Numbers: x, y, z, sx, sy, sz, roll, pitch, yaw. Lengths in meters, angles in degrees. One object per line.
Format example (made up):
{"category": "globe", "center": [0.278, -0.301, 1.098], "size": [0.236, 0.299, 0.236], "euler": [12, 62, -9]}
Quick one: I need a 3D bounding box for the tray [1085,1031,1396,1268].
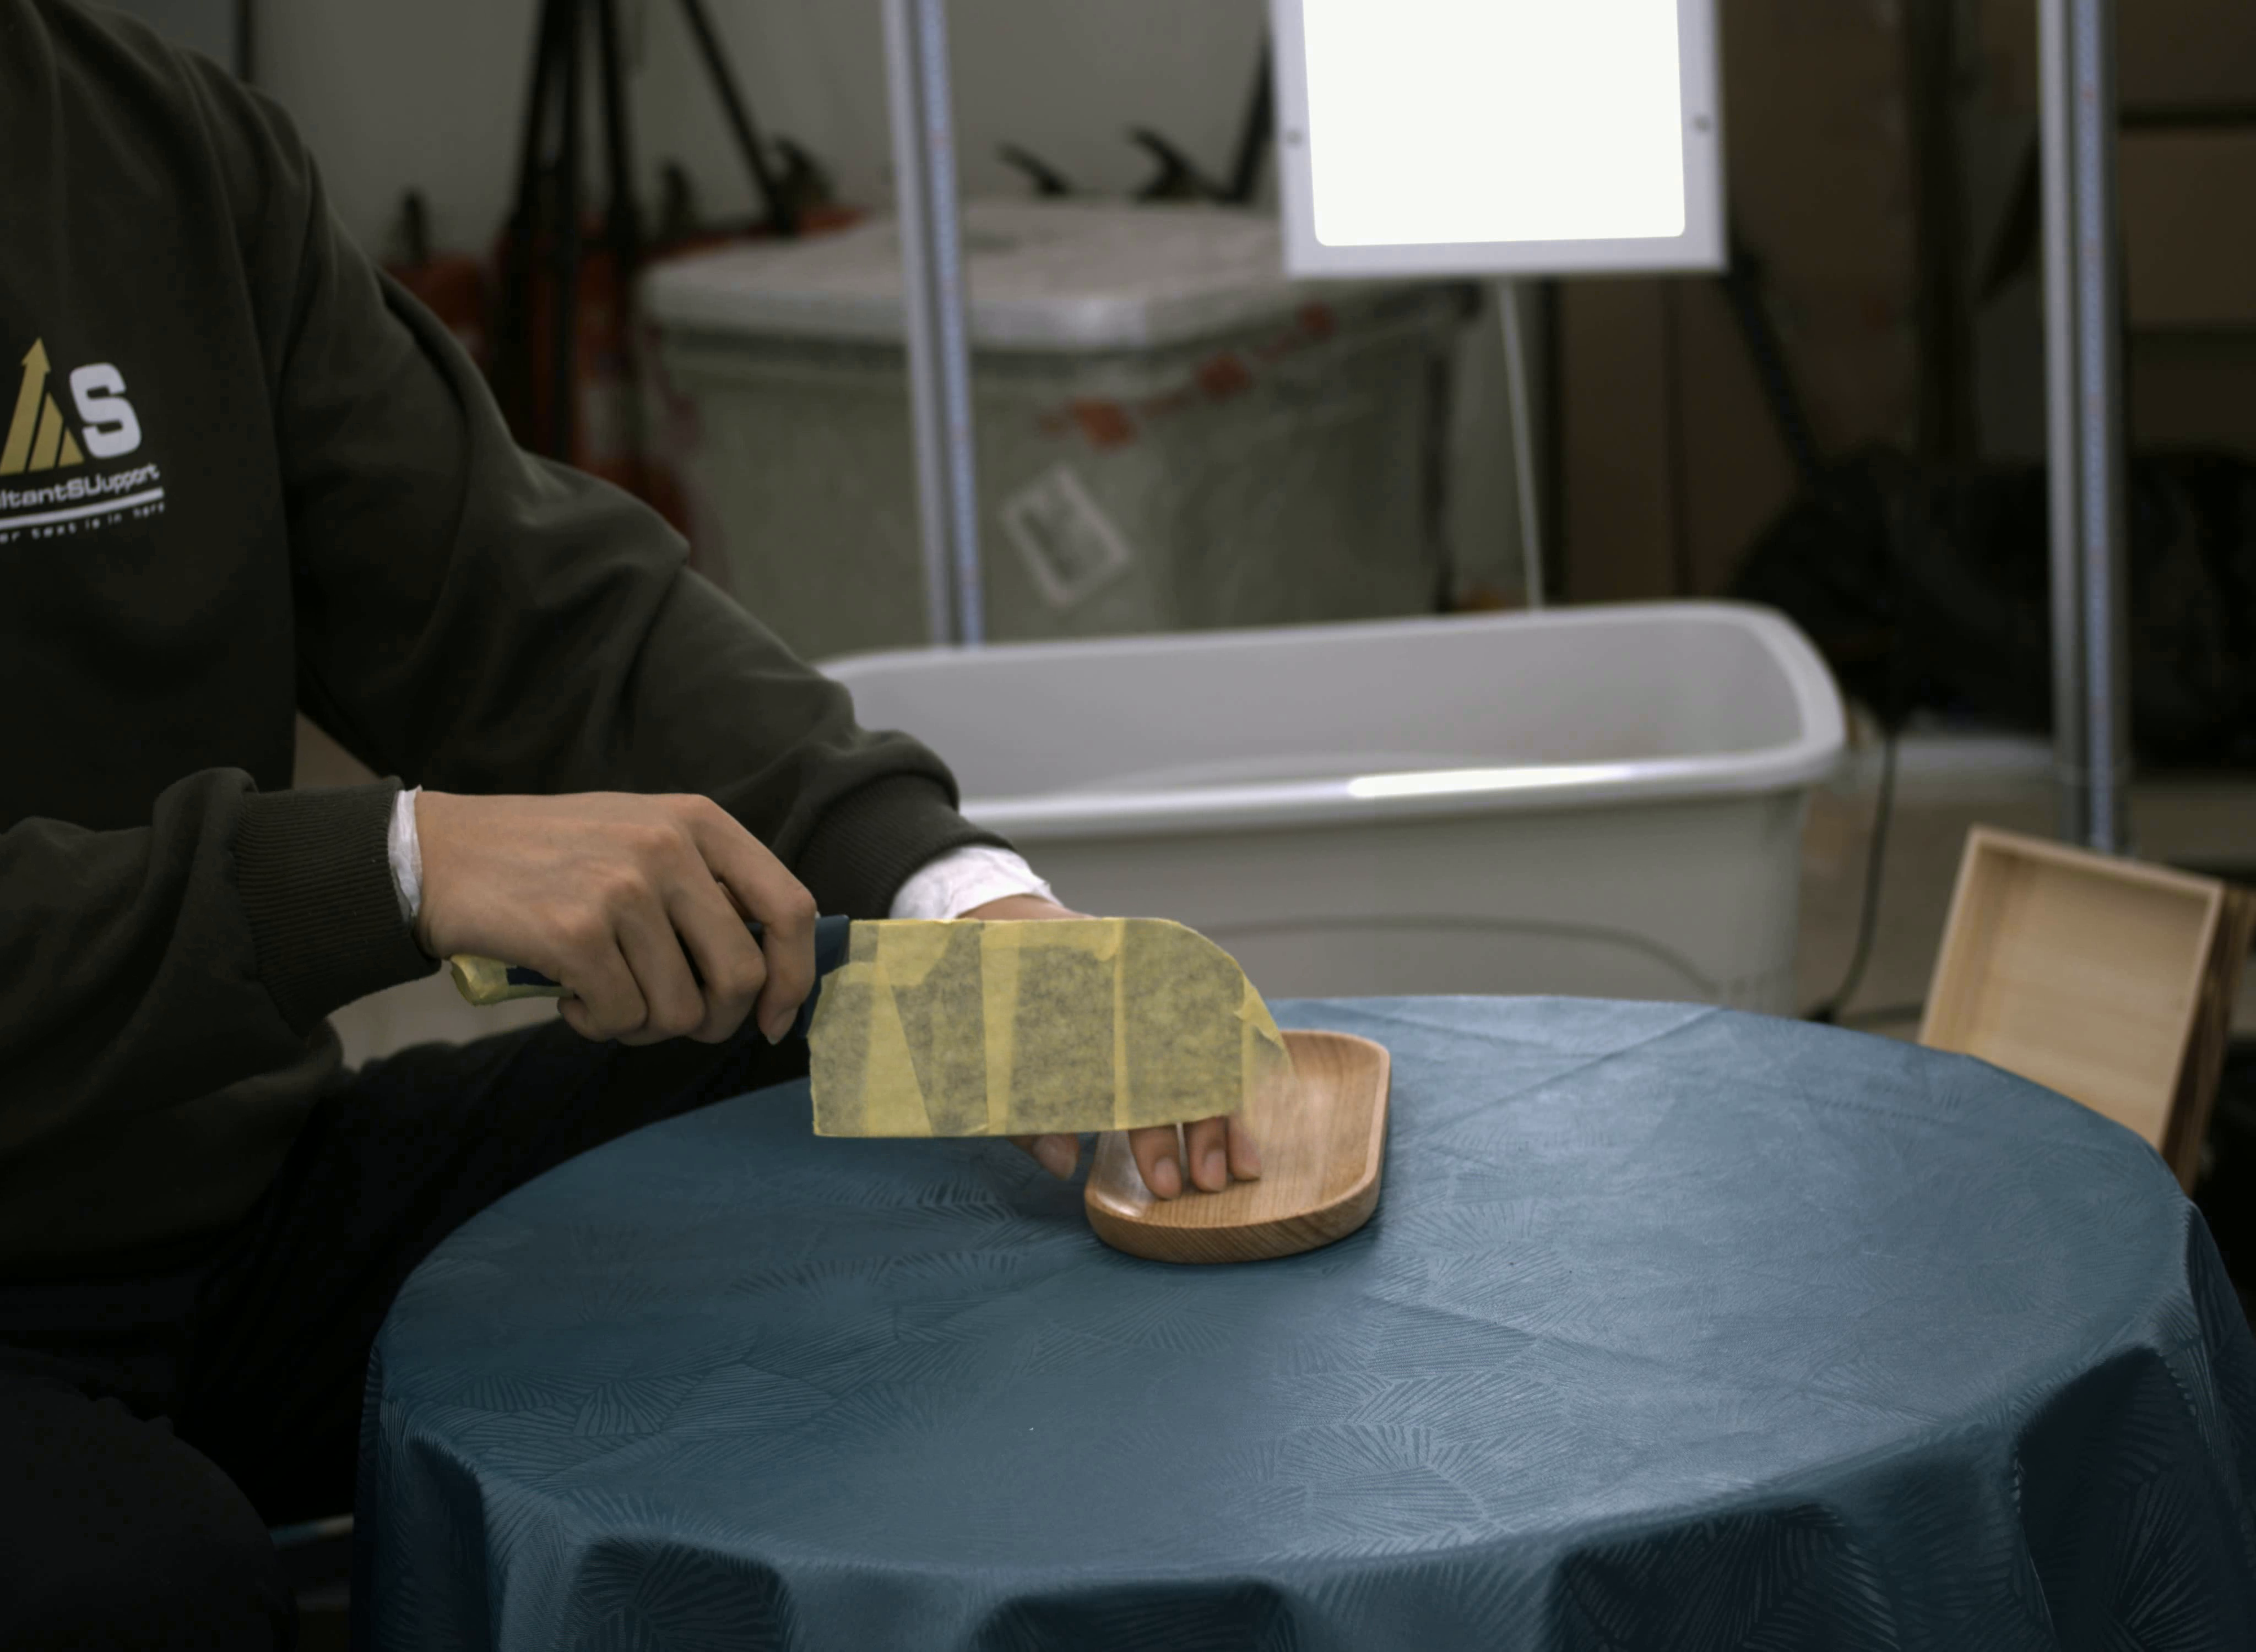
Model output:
{"category": "tray", "center": [0.042, 0.111, 1.919], "size": [0.102, 0.020, 0.229], "euler": [-5, 15, 7]}

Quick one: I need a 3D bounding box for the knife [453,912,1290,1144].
{"category": "knife", "center": [-0.083, 0.066, 1.842], "size": [0.285, 0.081, 0.027], "euler": [2, -4, -13]}
